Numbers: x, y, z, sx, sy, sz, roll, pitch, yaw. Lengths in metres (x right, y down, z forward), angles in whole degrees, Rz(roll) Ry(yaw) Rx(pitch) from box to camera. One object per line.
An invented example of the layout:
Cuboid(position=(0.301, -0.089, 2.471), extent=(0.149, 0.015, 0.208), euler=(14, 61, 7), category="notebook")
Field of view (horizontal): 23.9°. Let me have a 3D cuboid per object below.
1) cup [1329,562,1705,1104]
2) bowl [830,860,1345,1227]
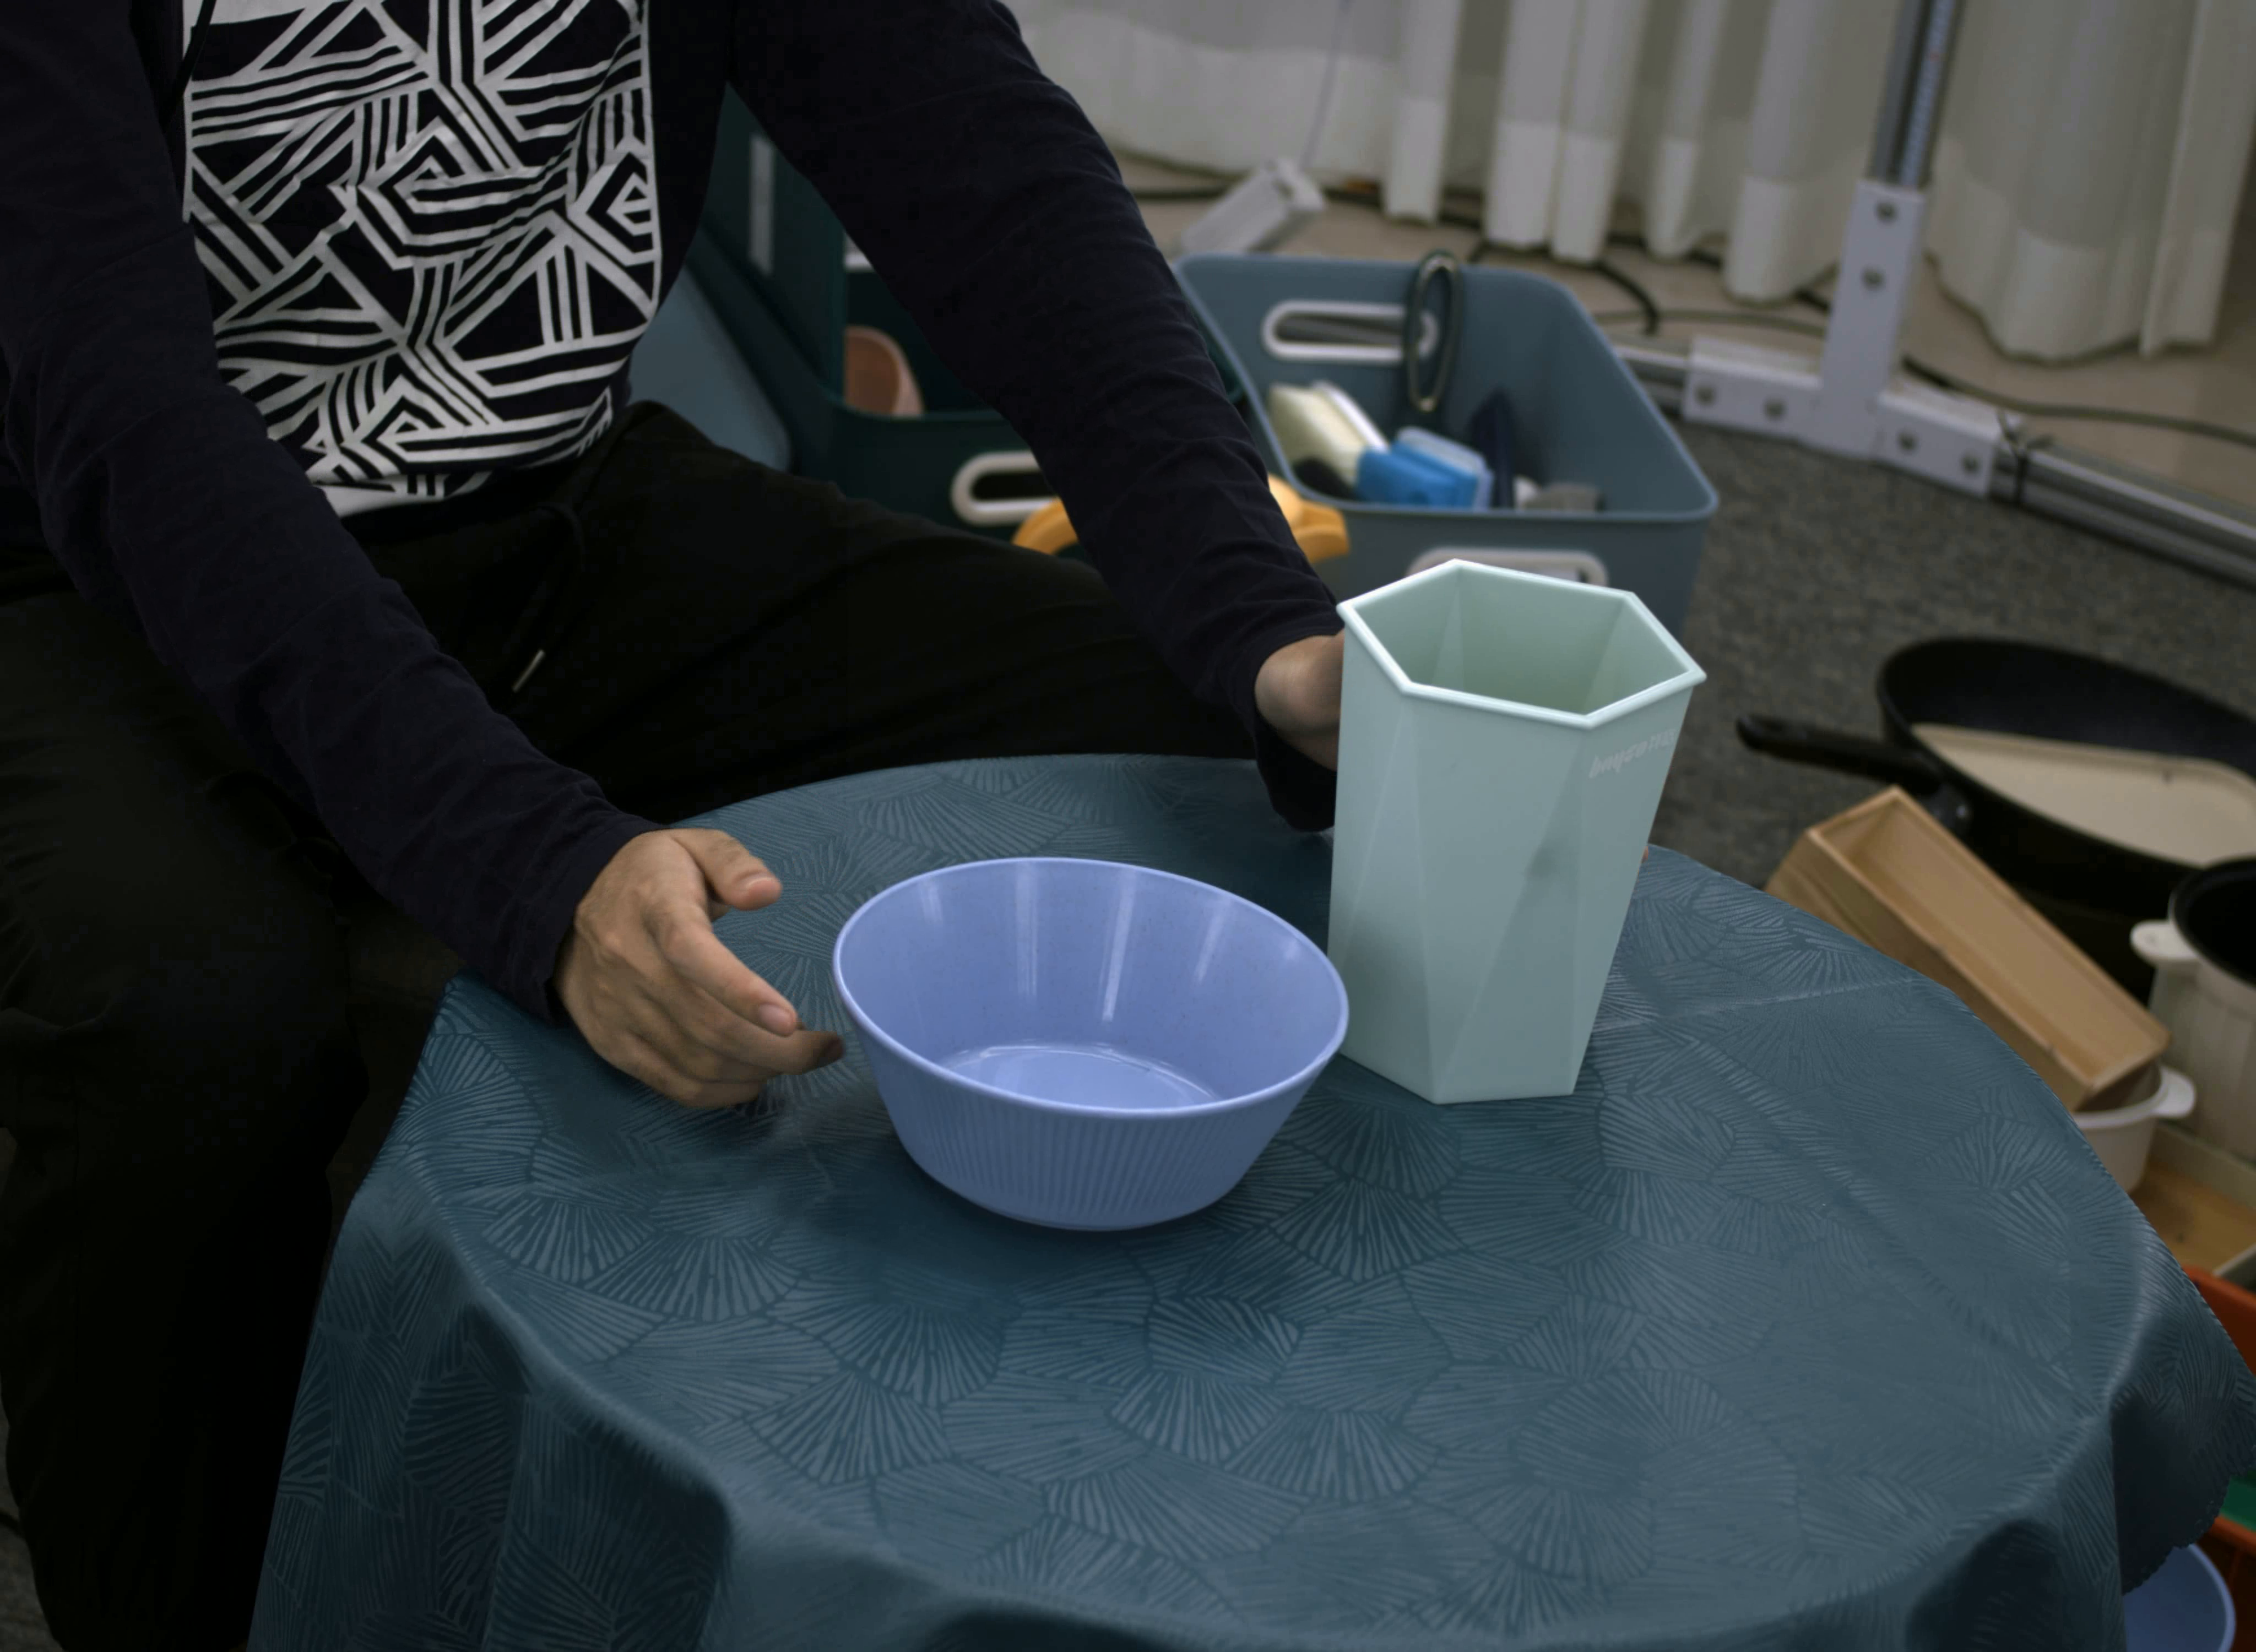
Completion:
Cuboid(position=(0.130, 0.005, 1.889), extent=(0.116, 0.162, 0.130), euler=(23, 29, 34), category="cup")
Cuboid(position=(-0.017, 0.079, 1.812), extent=(0.175, 0.070, 0.177), euler=(5, 27, -3), category="bowl")
